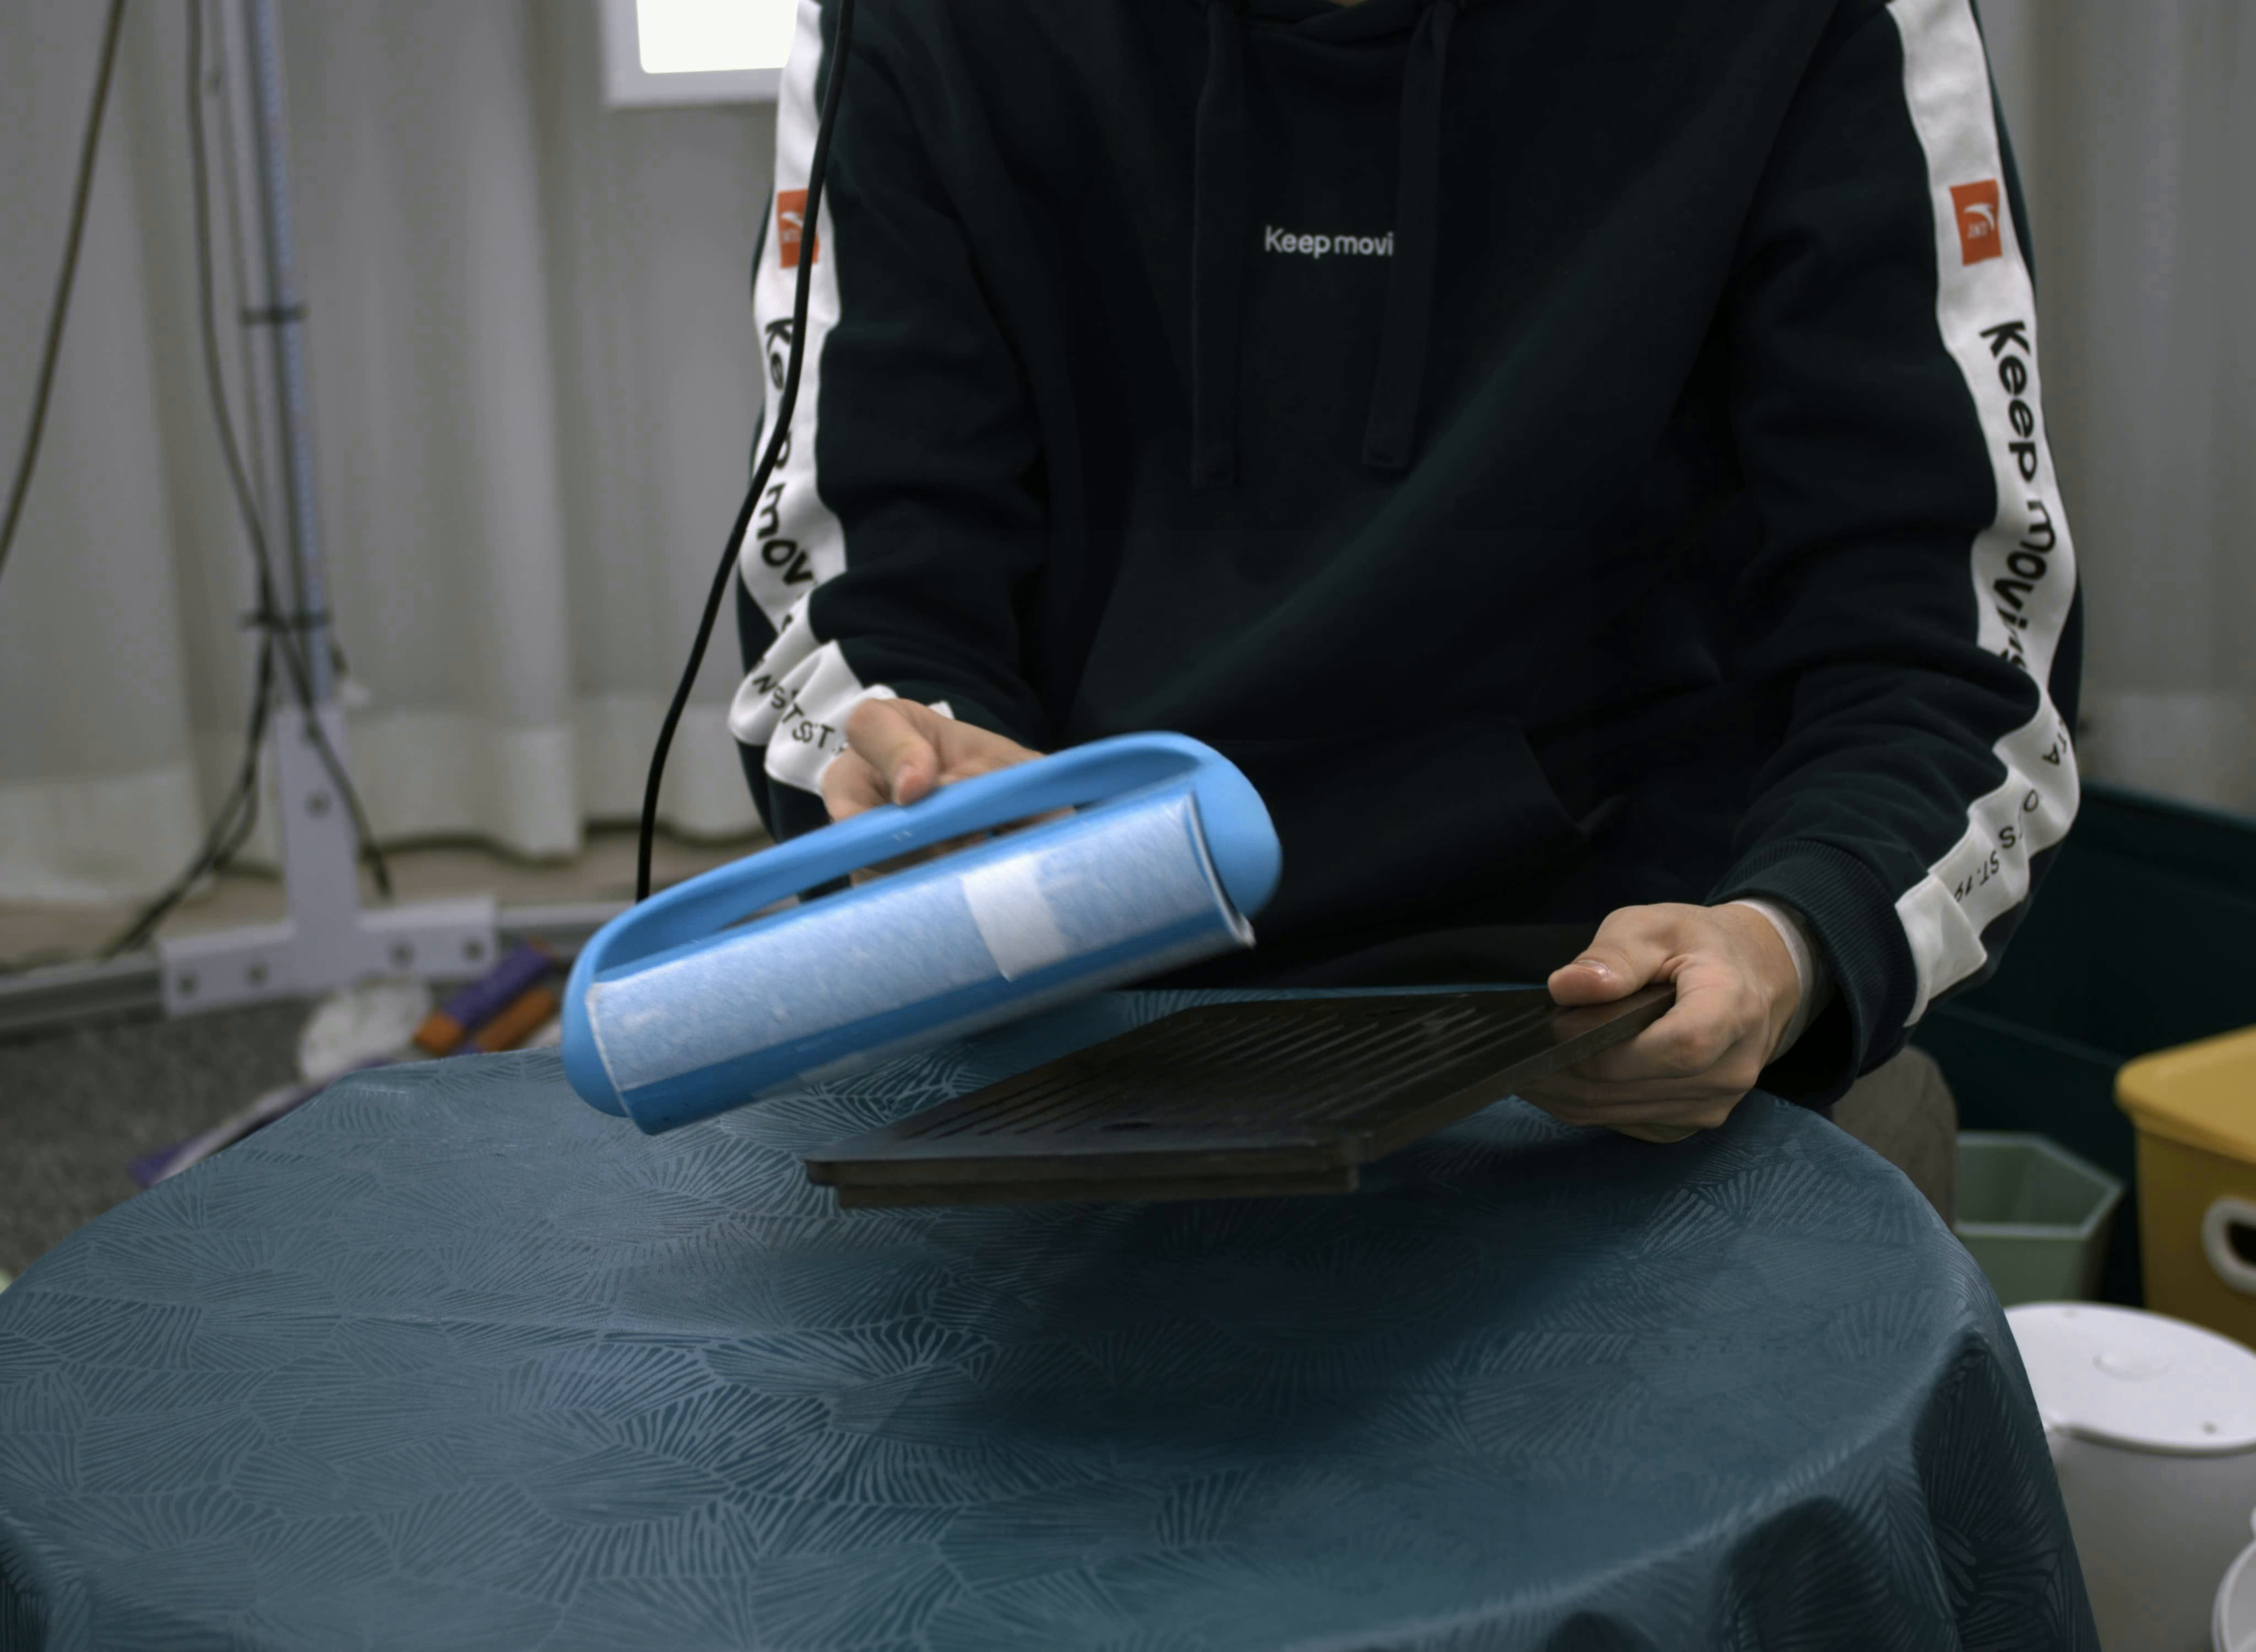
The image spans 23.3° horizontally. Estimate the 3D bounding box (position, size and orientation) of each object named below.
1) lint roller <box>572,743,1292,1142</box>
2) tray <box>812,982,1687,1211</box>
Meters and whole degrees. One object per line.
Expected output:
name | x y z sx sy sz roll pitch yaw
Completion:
lint roller | -0.060 0.024 1.705 0.228 0.067 0.181 -20 14 6
tray | 0.044 0.078 1.609 0.170 0.018 0.305 -4 5 23
